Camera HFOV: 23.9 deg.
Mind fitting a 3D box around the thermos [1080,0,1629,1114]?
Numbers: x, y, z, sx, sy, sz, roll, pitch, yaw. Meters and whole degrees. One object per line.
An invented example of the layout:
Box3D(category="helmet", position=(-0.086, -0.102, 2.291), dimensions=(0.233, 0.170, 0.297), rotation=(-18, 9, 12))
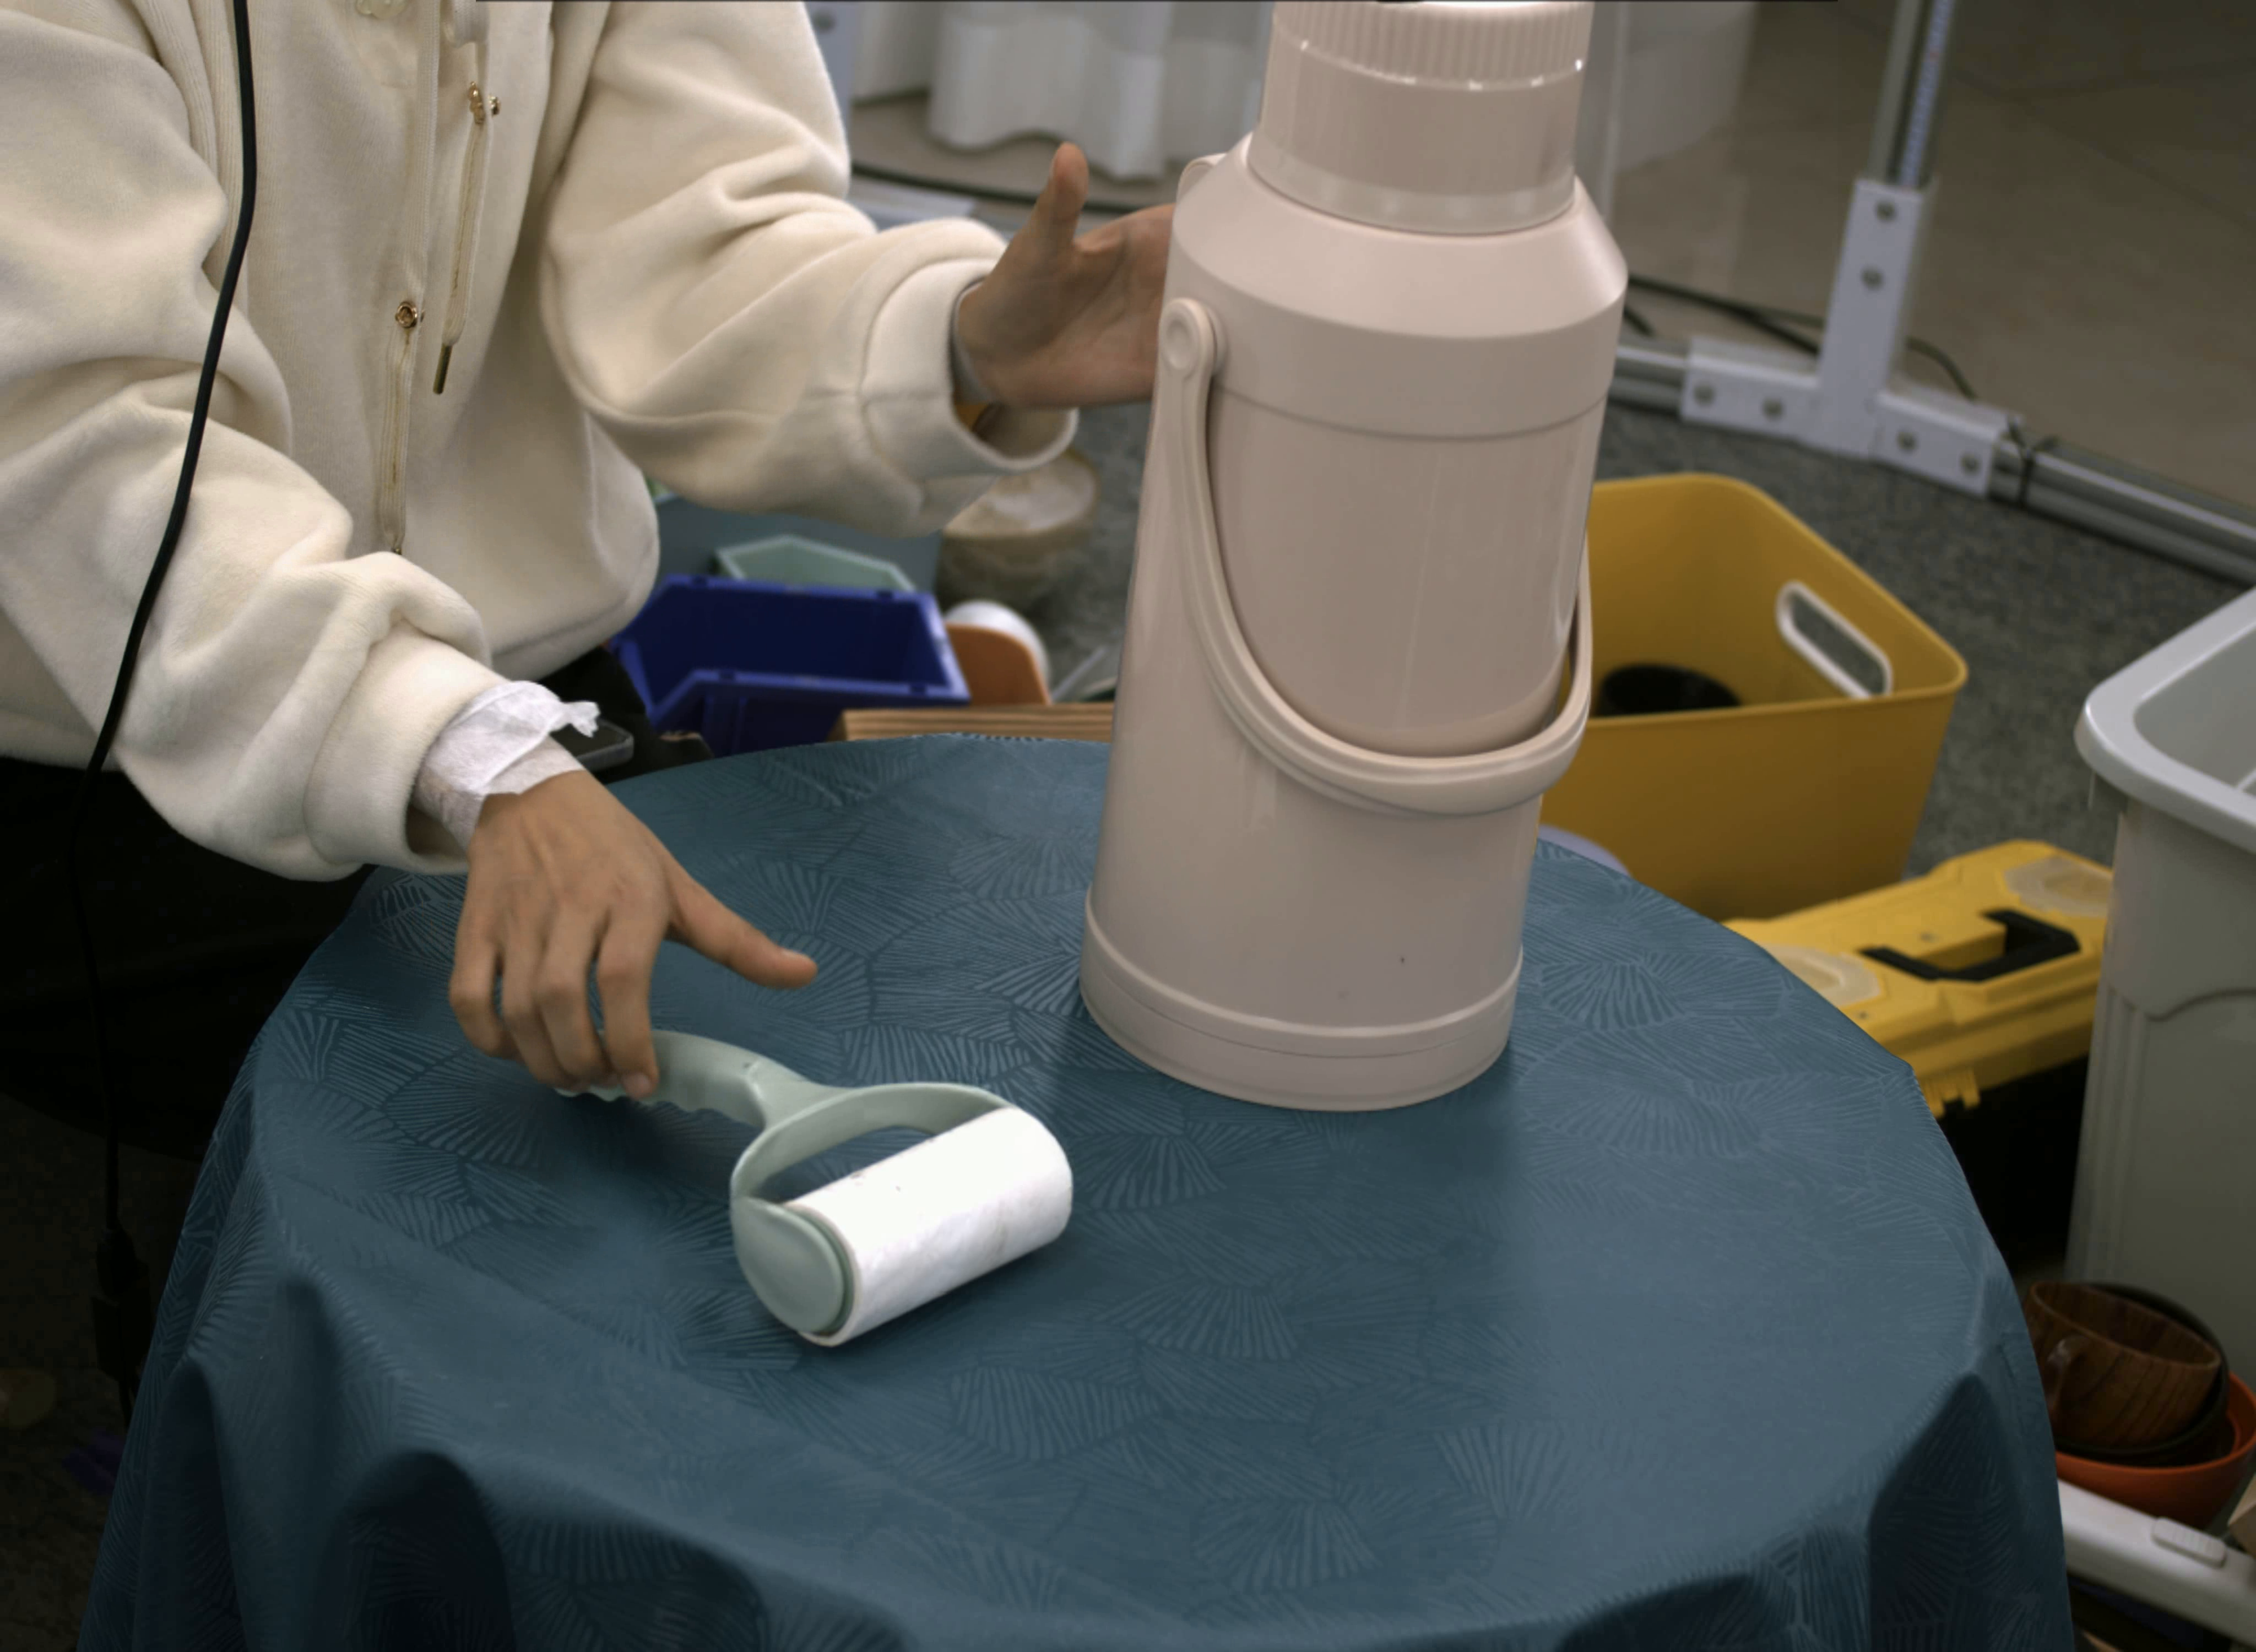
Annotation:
Box3D(category="thermos", position=(0.075, -0.117, 1.855), dimensions=(0.174, 0.405, 0.209), rotation=(-11, 31, -31))

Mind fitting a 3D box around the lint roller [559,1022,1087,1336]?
Box3D(category="lint roller", position=(-0.116, 0.098, 1.772), dimensions=(0.199, 0.048, 0.116), rotation=(28, 36, 35))
